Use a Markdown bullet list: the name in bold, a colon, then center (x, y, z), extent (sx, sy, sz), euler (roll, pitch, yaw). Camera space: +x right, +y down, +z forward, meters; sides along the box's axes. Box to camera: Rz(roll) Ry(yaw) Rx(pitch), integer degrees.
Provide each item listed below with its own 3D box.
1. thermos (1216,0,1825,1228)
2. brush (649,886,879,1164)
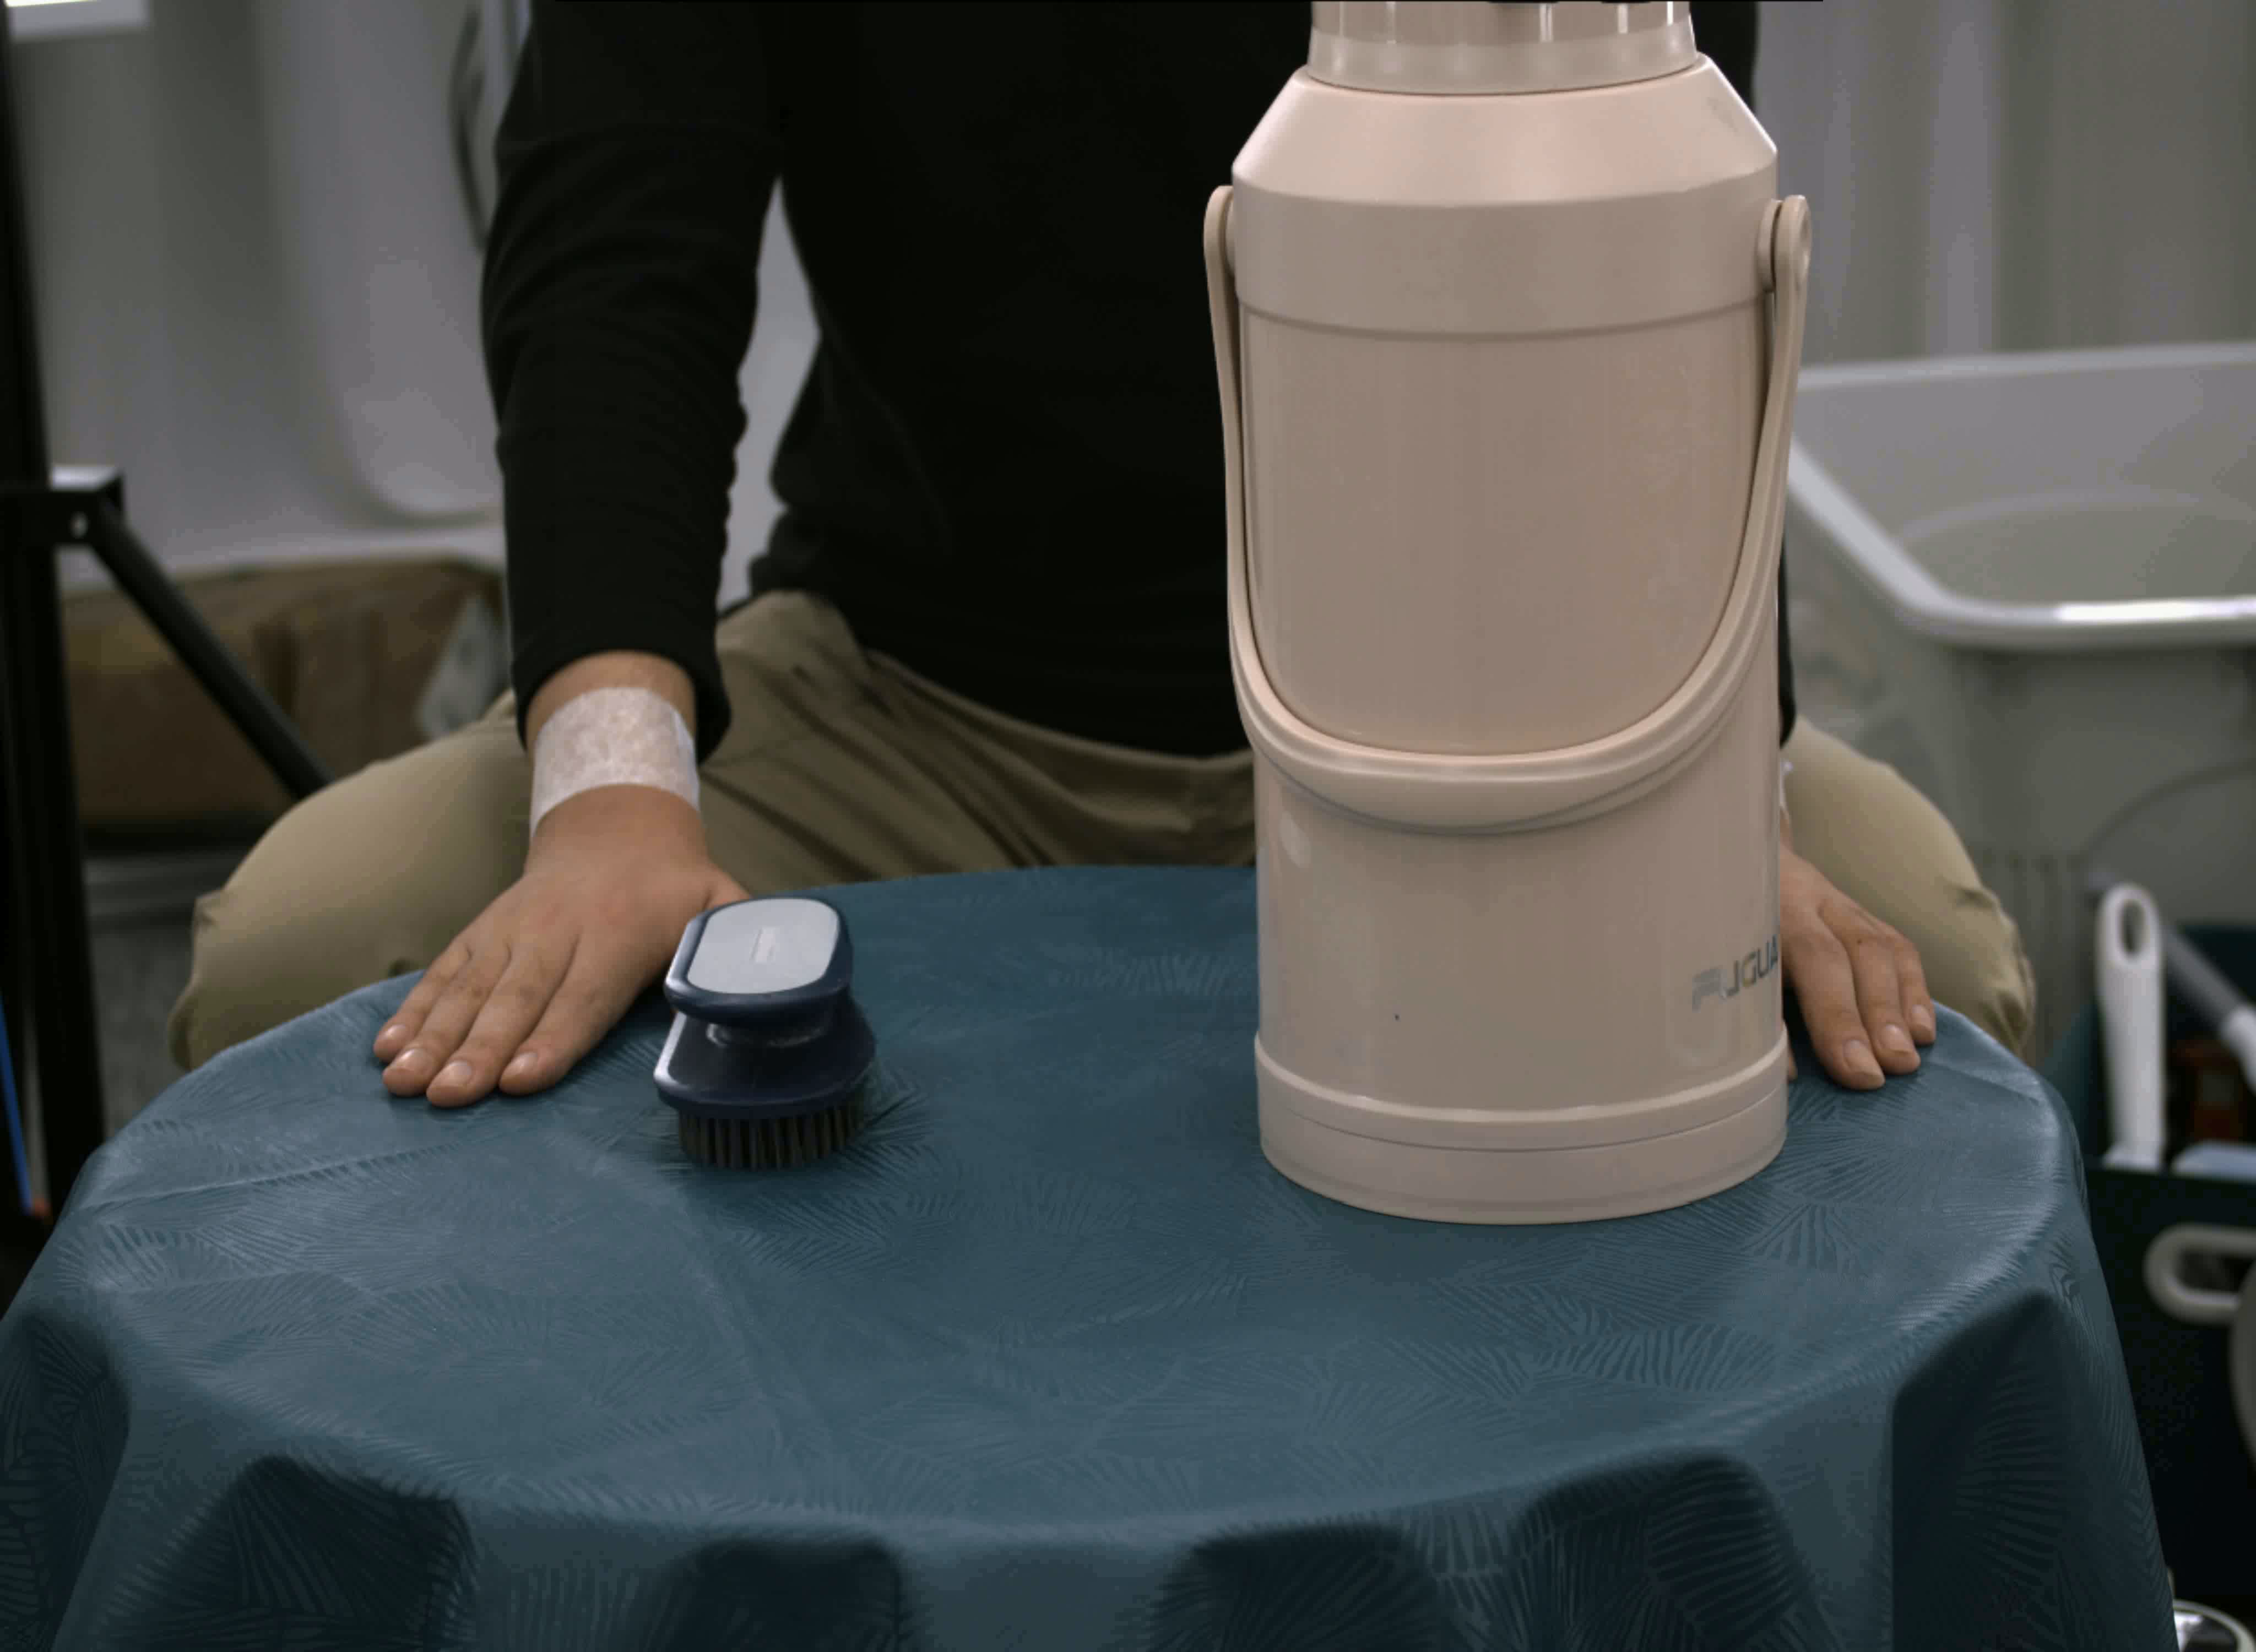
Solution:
- **thermos**: center (0.120, -0.101, 1.550), extent (0.177, 0.406, 0.205), euler (2, 16, 20)
- **brush**: center (-0.111, 0.063, 1.634), extent (0.068, 0.061, 0.121), euler (2, 17, 4)
